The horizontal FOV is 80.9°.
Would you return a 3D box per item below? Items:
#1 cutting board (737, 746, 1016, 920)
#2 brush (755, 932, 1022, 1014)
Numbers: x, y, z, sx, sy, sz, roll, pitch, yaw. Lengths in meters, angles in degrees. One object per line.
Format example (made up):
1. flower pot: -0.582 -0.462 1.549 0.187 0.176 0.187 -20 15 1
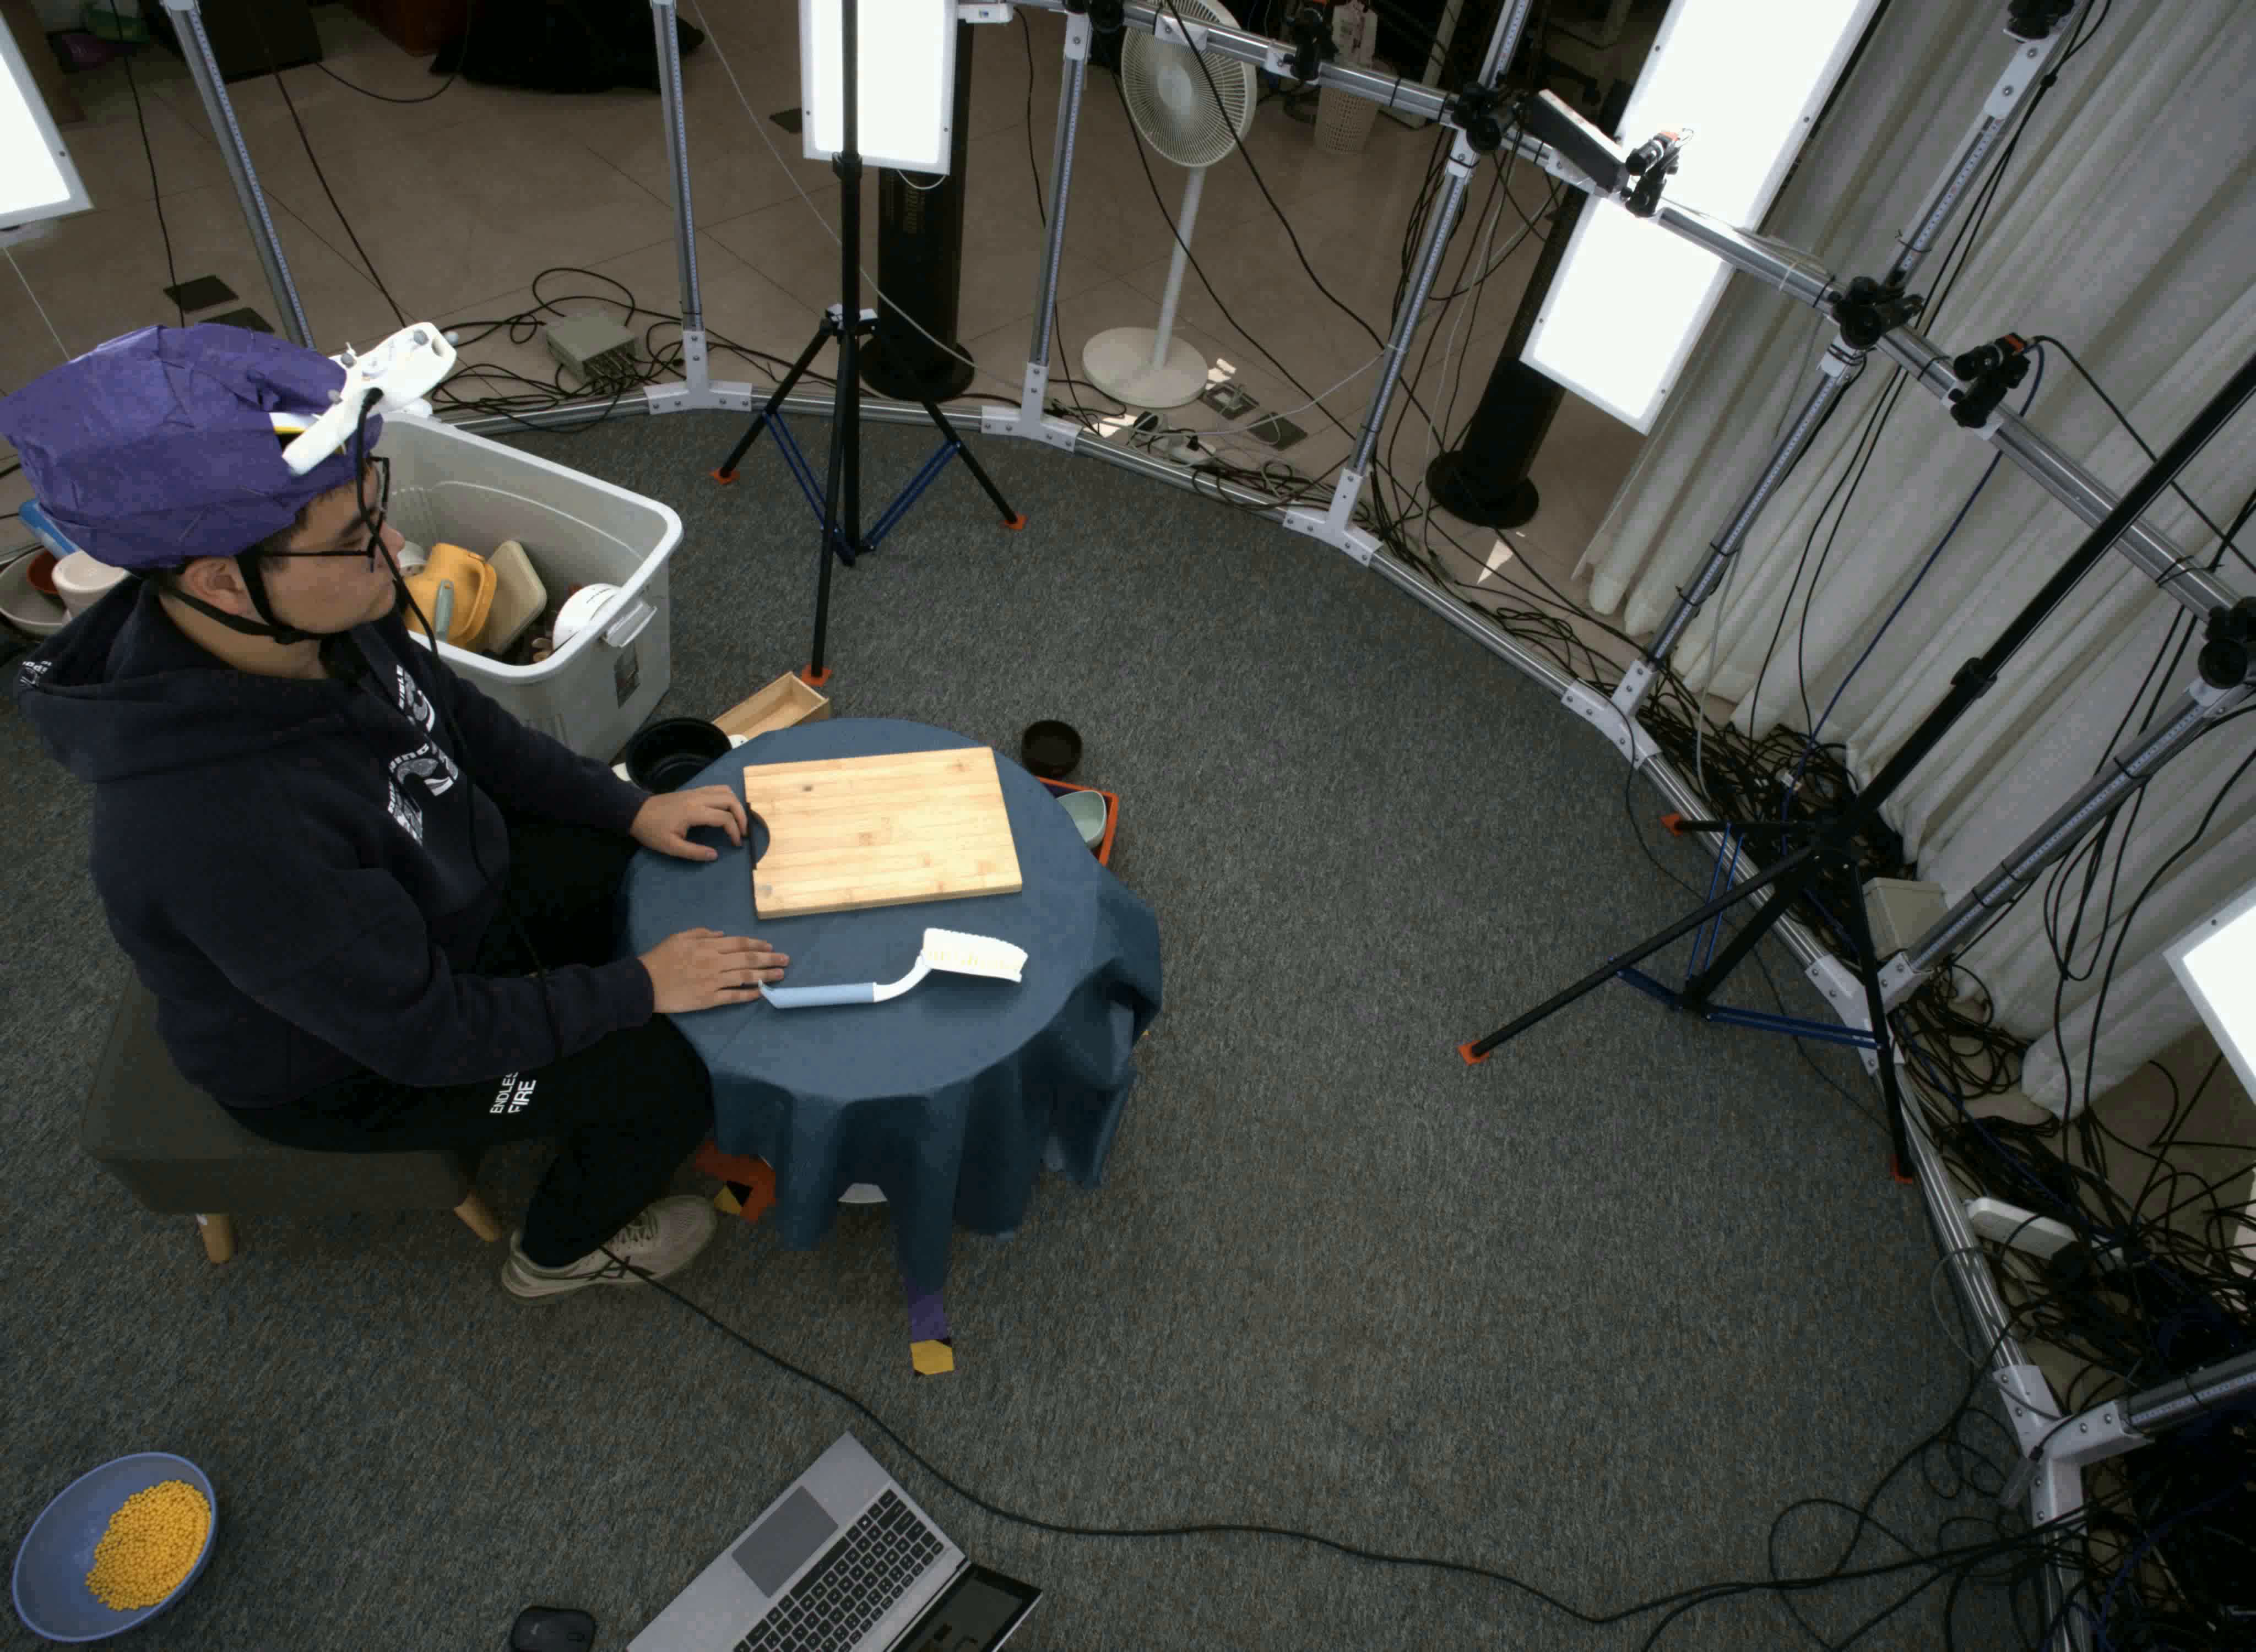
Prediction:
1. cutting board: -0.334 0.003 1.730 0.350 0.024 0.244 -6 55 -18
2. brush: -0.288 0.164 1.578 0.326 0.084 0.083 -2 62 -17
